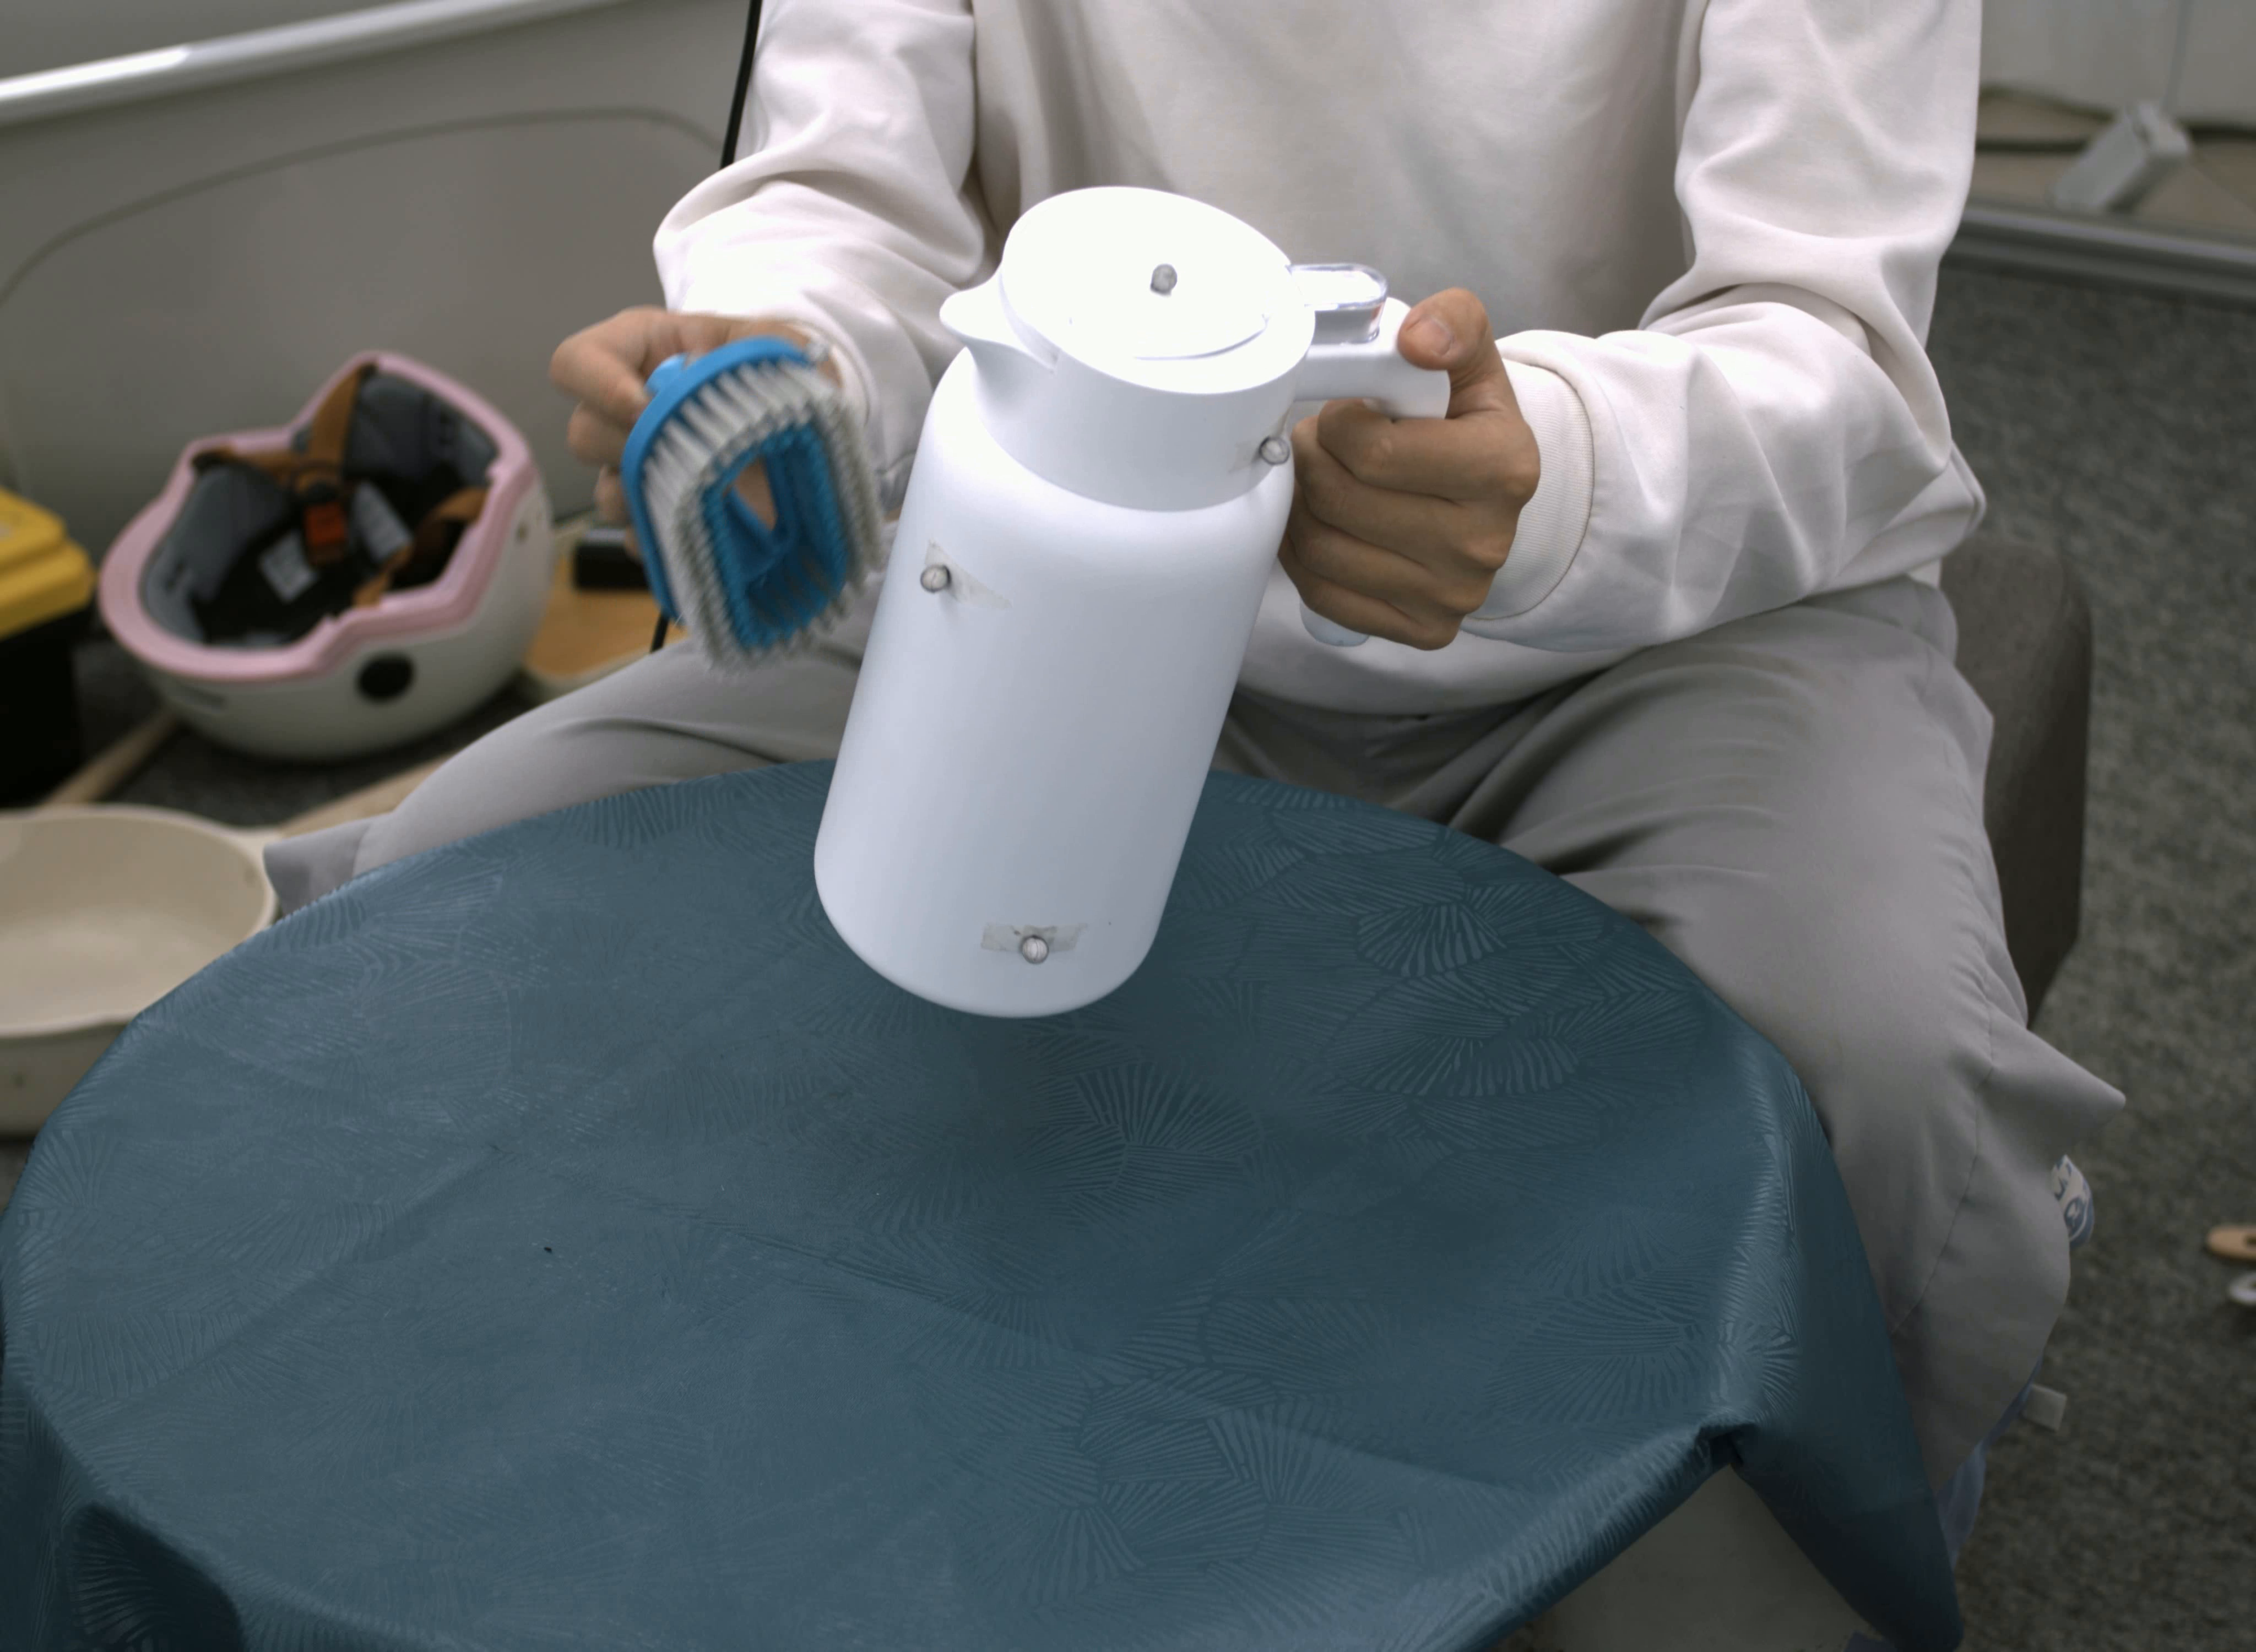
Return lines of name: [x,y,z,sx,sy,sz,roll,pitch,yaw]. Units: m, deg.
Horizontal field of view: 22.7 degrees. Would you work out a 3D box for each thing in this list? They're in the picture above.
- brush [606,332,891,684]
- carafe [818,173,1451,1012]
brush: [-0.132,-0.109,1.833,0.085,0.140,0.064,-38,63,-14]
carafe: [-0.003,-0.073,1.796,0.173,0.264,0.125,-3,42,-23]
